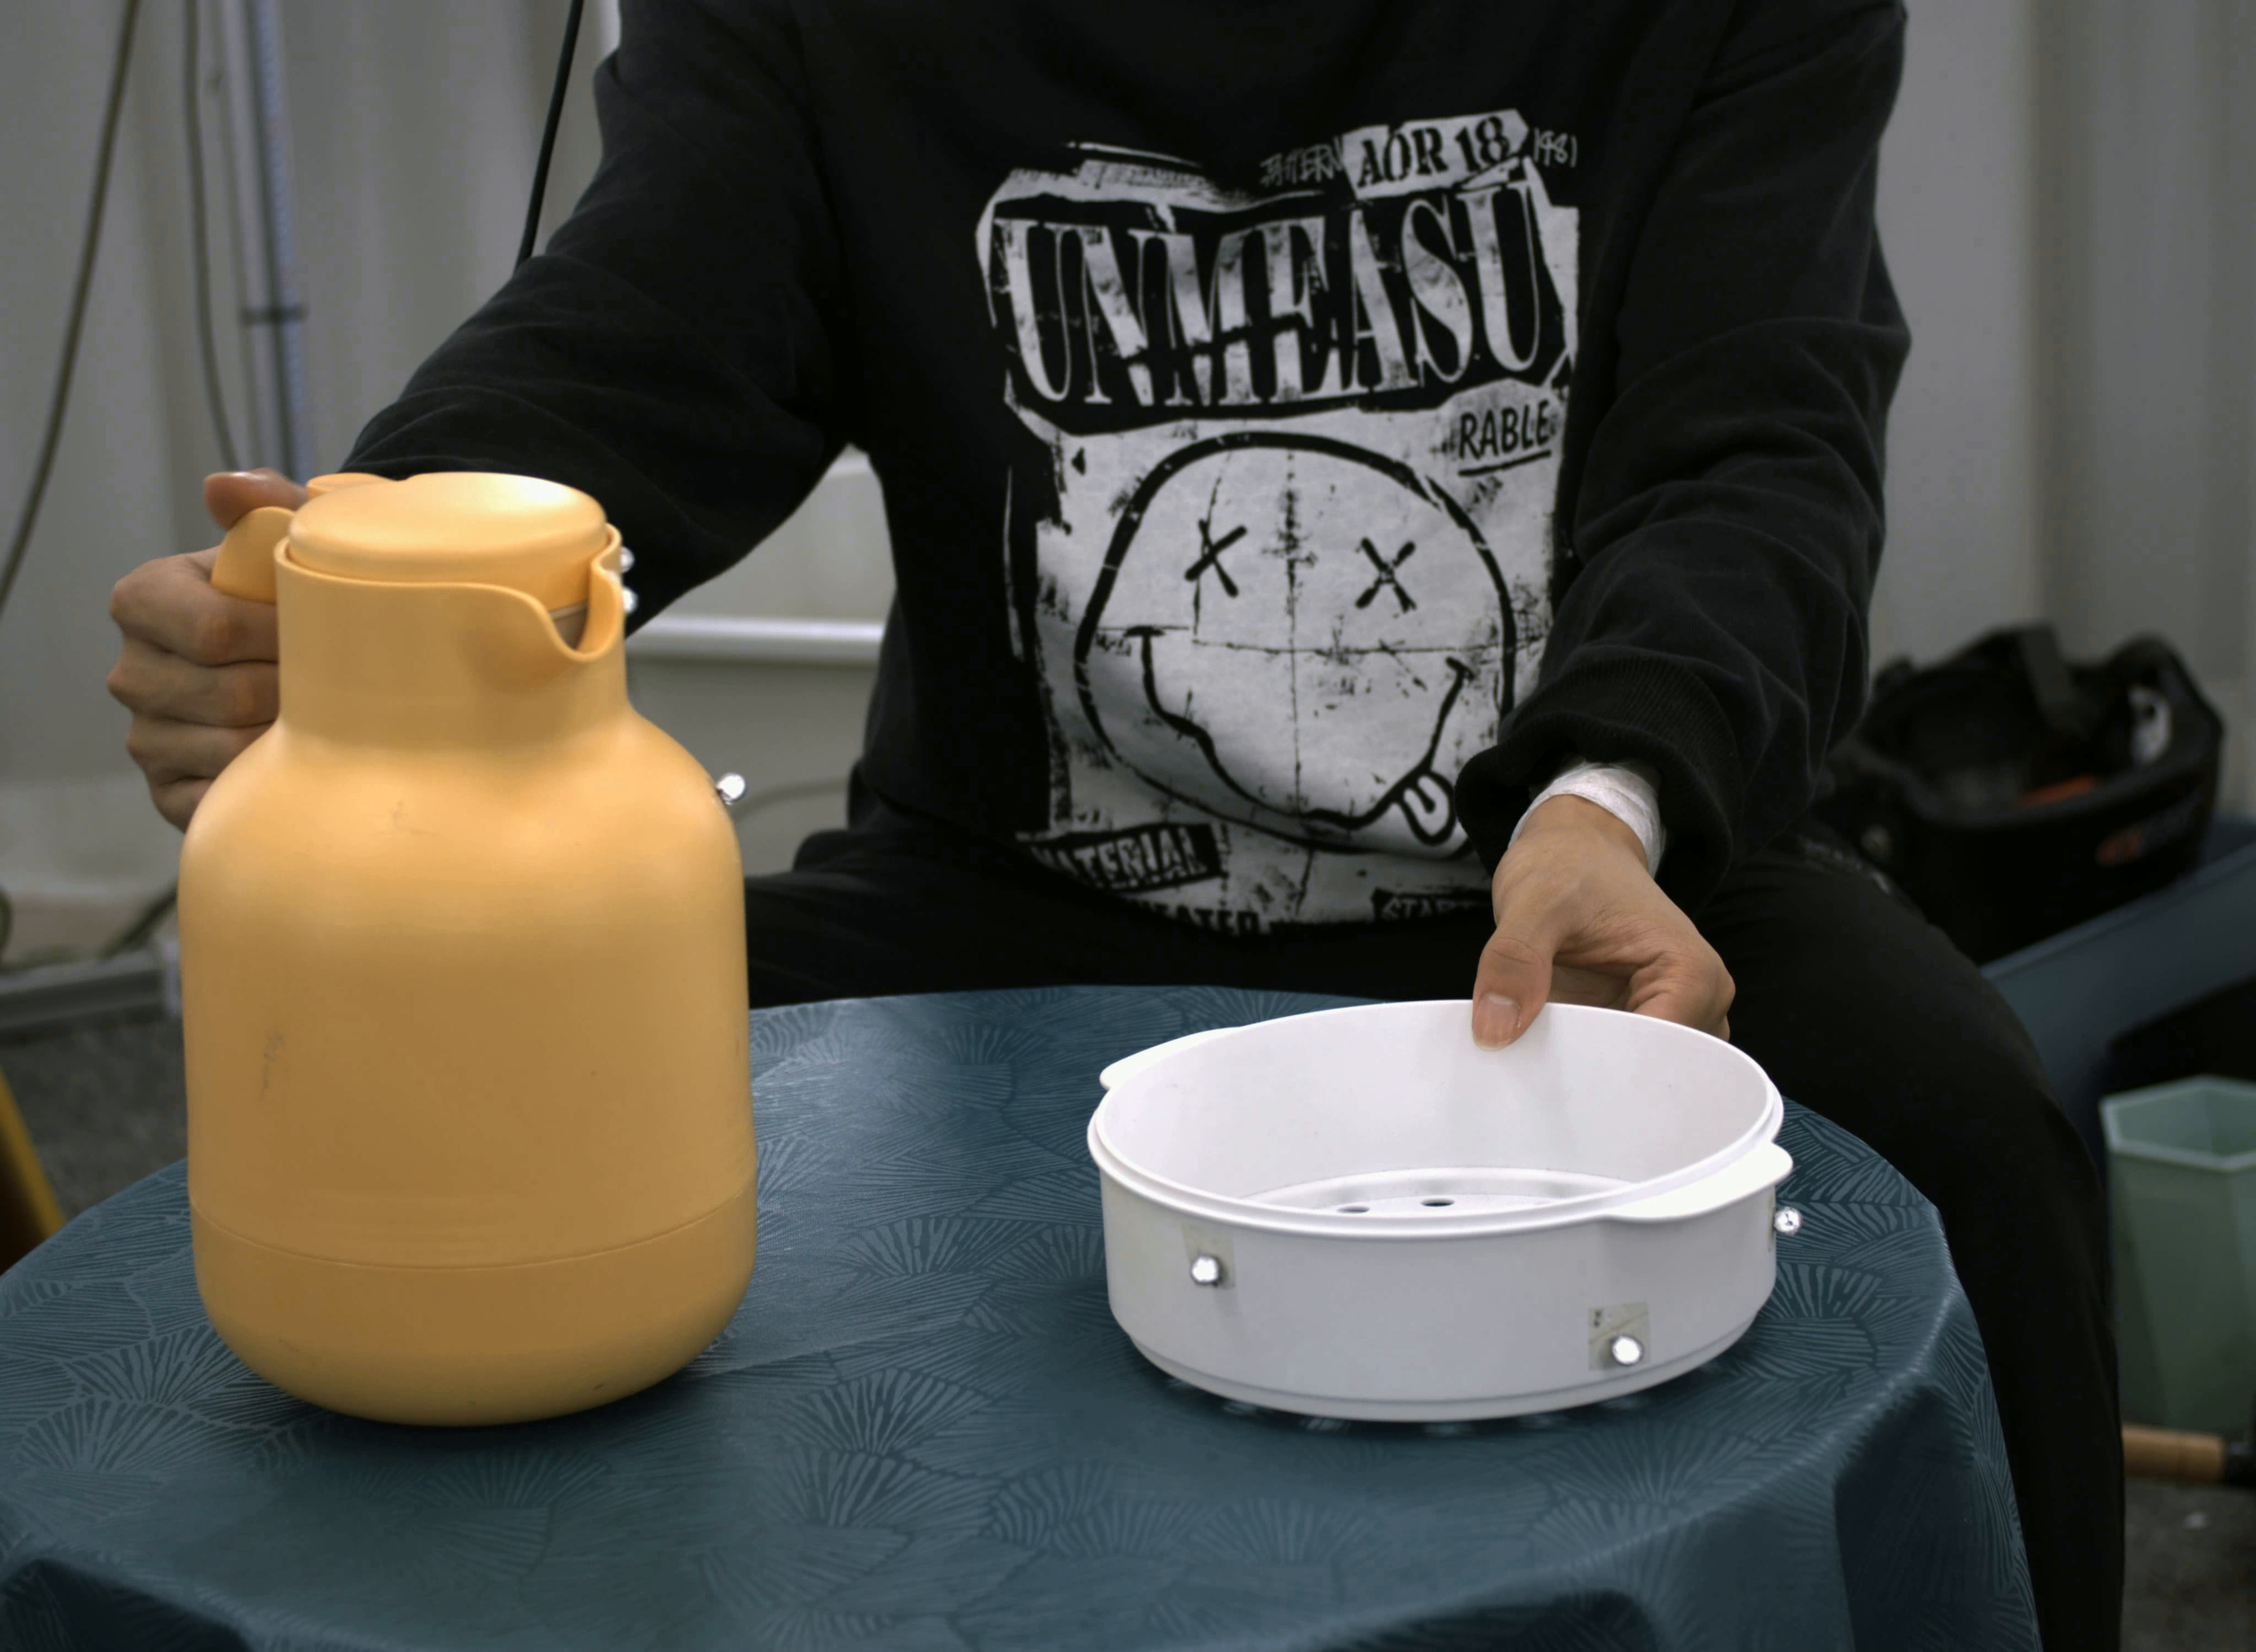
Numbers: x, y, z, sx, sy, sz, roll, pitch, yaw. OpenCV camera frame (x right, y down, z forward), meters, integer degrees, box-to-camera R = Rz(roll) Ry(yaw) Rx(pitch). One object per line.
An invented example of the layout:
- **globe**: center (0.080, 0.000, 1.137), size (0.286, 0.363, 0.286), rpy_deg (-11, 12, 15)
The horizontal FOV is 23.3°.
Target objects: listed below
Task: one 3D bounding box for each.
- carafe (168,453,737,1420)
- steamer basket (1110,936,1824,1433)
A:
- **carafe**: center (-0.202, 0.023, 1.575), size (0.163, 0.259, 0.204), rpy_deg (-8, 19, -34)
- **steamer basket**: center (0.094, 0.103, 1.571), size (0.232, 0.069, 0.202), rpy_deg (23, 32, 39)
